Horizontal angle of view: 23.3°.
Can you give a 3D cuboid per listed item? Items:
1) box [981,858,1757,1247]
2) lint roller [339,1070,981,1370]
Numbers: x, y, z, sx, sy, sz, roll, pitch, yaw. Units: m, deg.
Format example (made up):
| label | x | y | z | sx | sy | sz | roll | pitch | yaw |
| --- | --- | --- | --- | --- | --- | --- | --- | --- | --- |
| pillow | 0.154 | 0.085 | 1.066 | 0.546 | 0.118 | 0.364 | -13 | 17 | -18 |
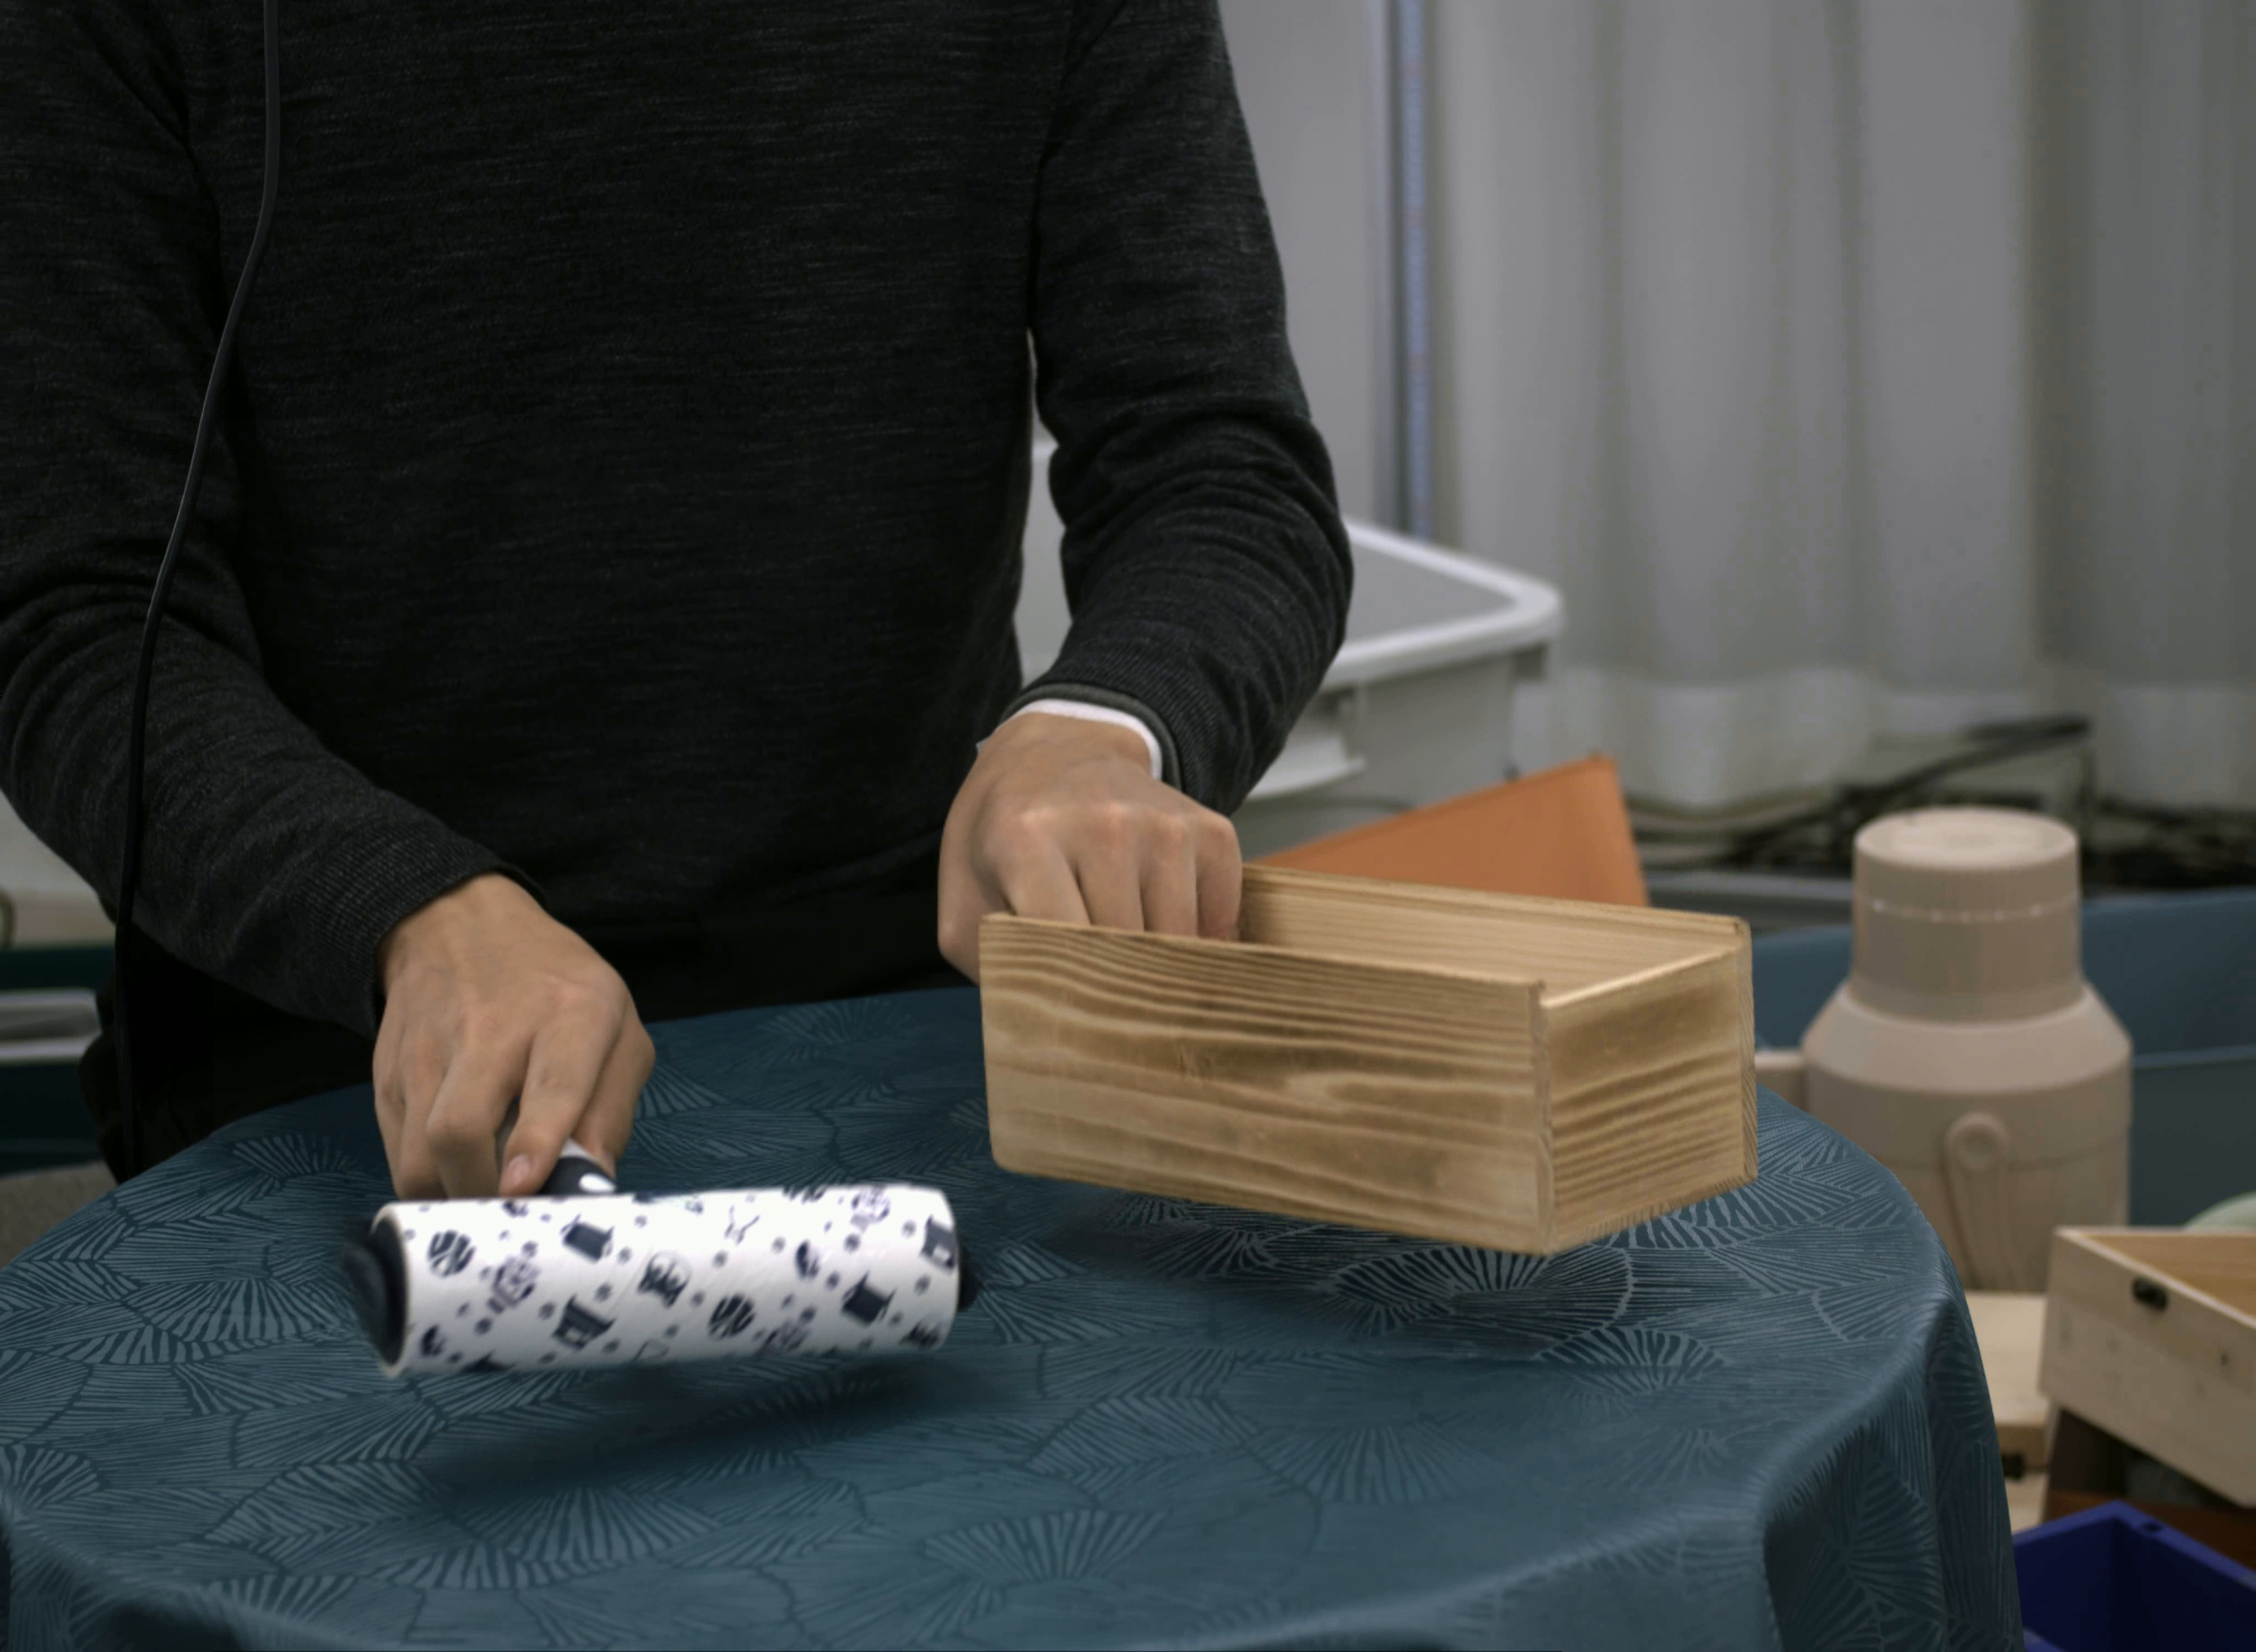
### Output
| label | x | y | z | sx | sy | sz | roll | pitch | yaw |
| --- | --- | --- | --- | --- | --- | --- | --- | --- | --- |
| box | 0.070 | 0.064 | 1.625 | 0.212 | 0.080 | 0.107 | 5 | 12 | 41 |
| lint roller | -0.168 | 0.103 | 1.611 | 0.175 | 0.050 | 0.249 | -2 | 13 | -24 |
